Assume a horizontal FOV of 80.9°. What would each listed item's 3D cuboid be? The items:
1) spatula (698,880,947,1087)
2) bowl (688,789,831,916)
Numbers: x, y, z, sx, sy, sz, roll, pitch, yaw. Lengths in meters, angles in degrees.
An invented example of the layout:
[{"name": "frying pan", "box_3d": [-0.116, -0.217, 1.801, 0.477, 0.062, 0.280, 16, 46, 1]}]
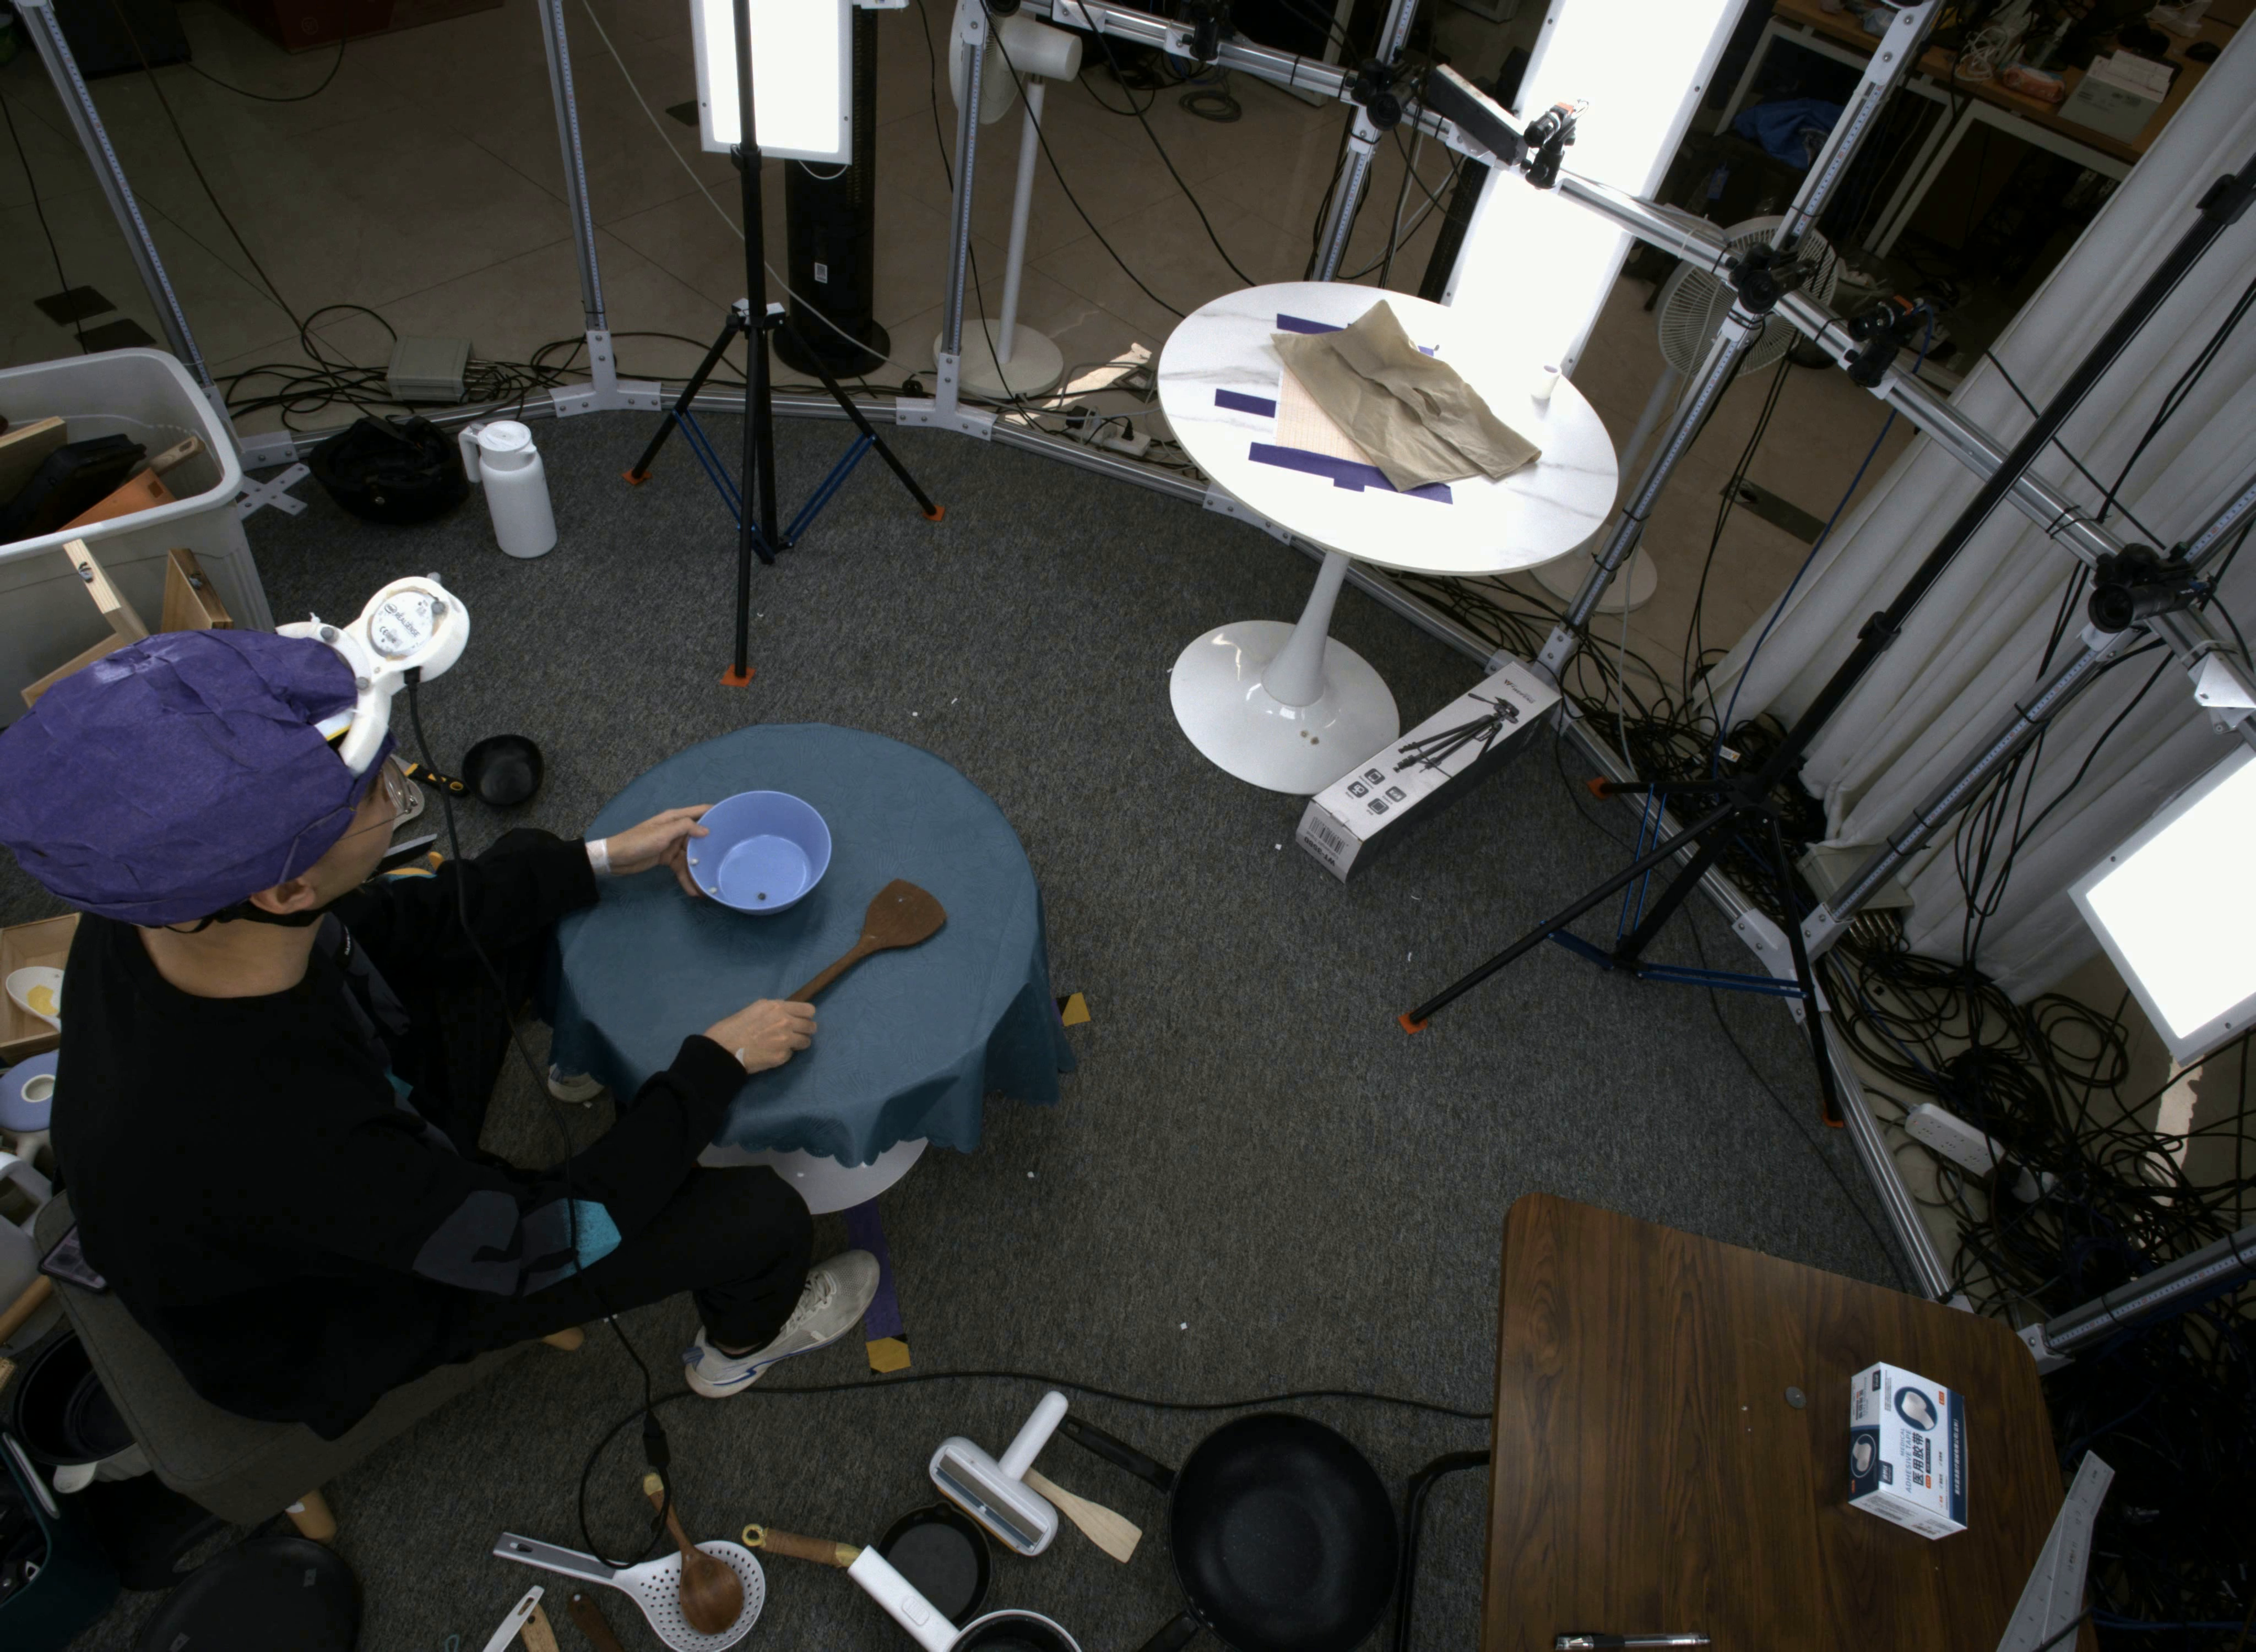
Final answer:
[{"name": "spatula", "box_3d": [-0.372, 0.188, 1.581, 0.094, 0.016, 0.386, 36, 49, 15]}, {"name": "bowl", "box_3d": [-0.460, 0.044, 1.634, 0.175, 0.072, 0.173, 5, 58, -6]}]
